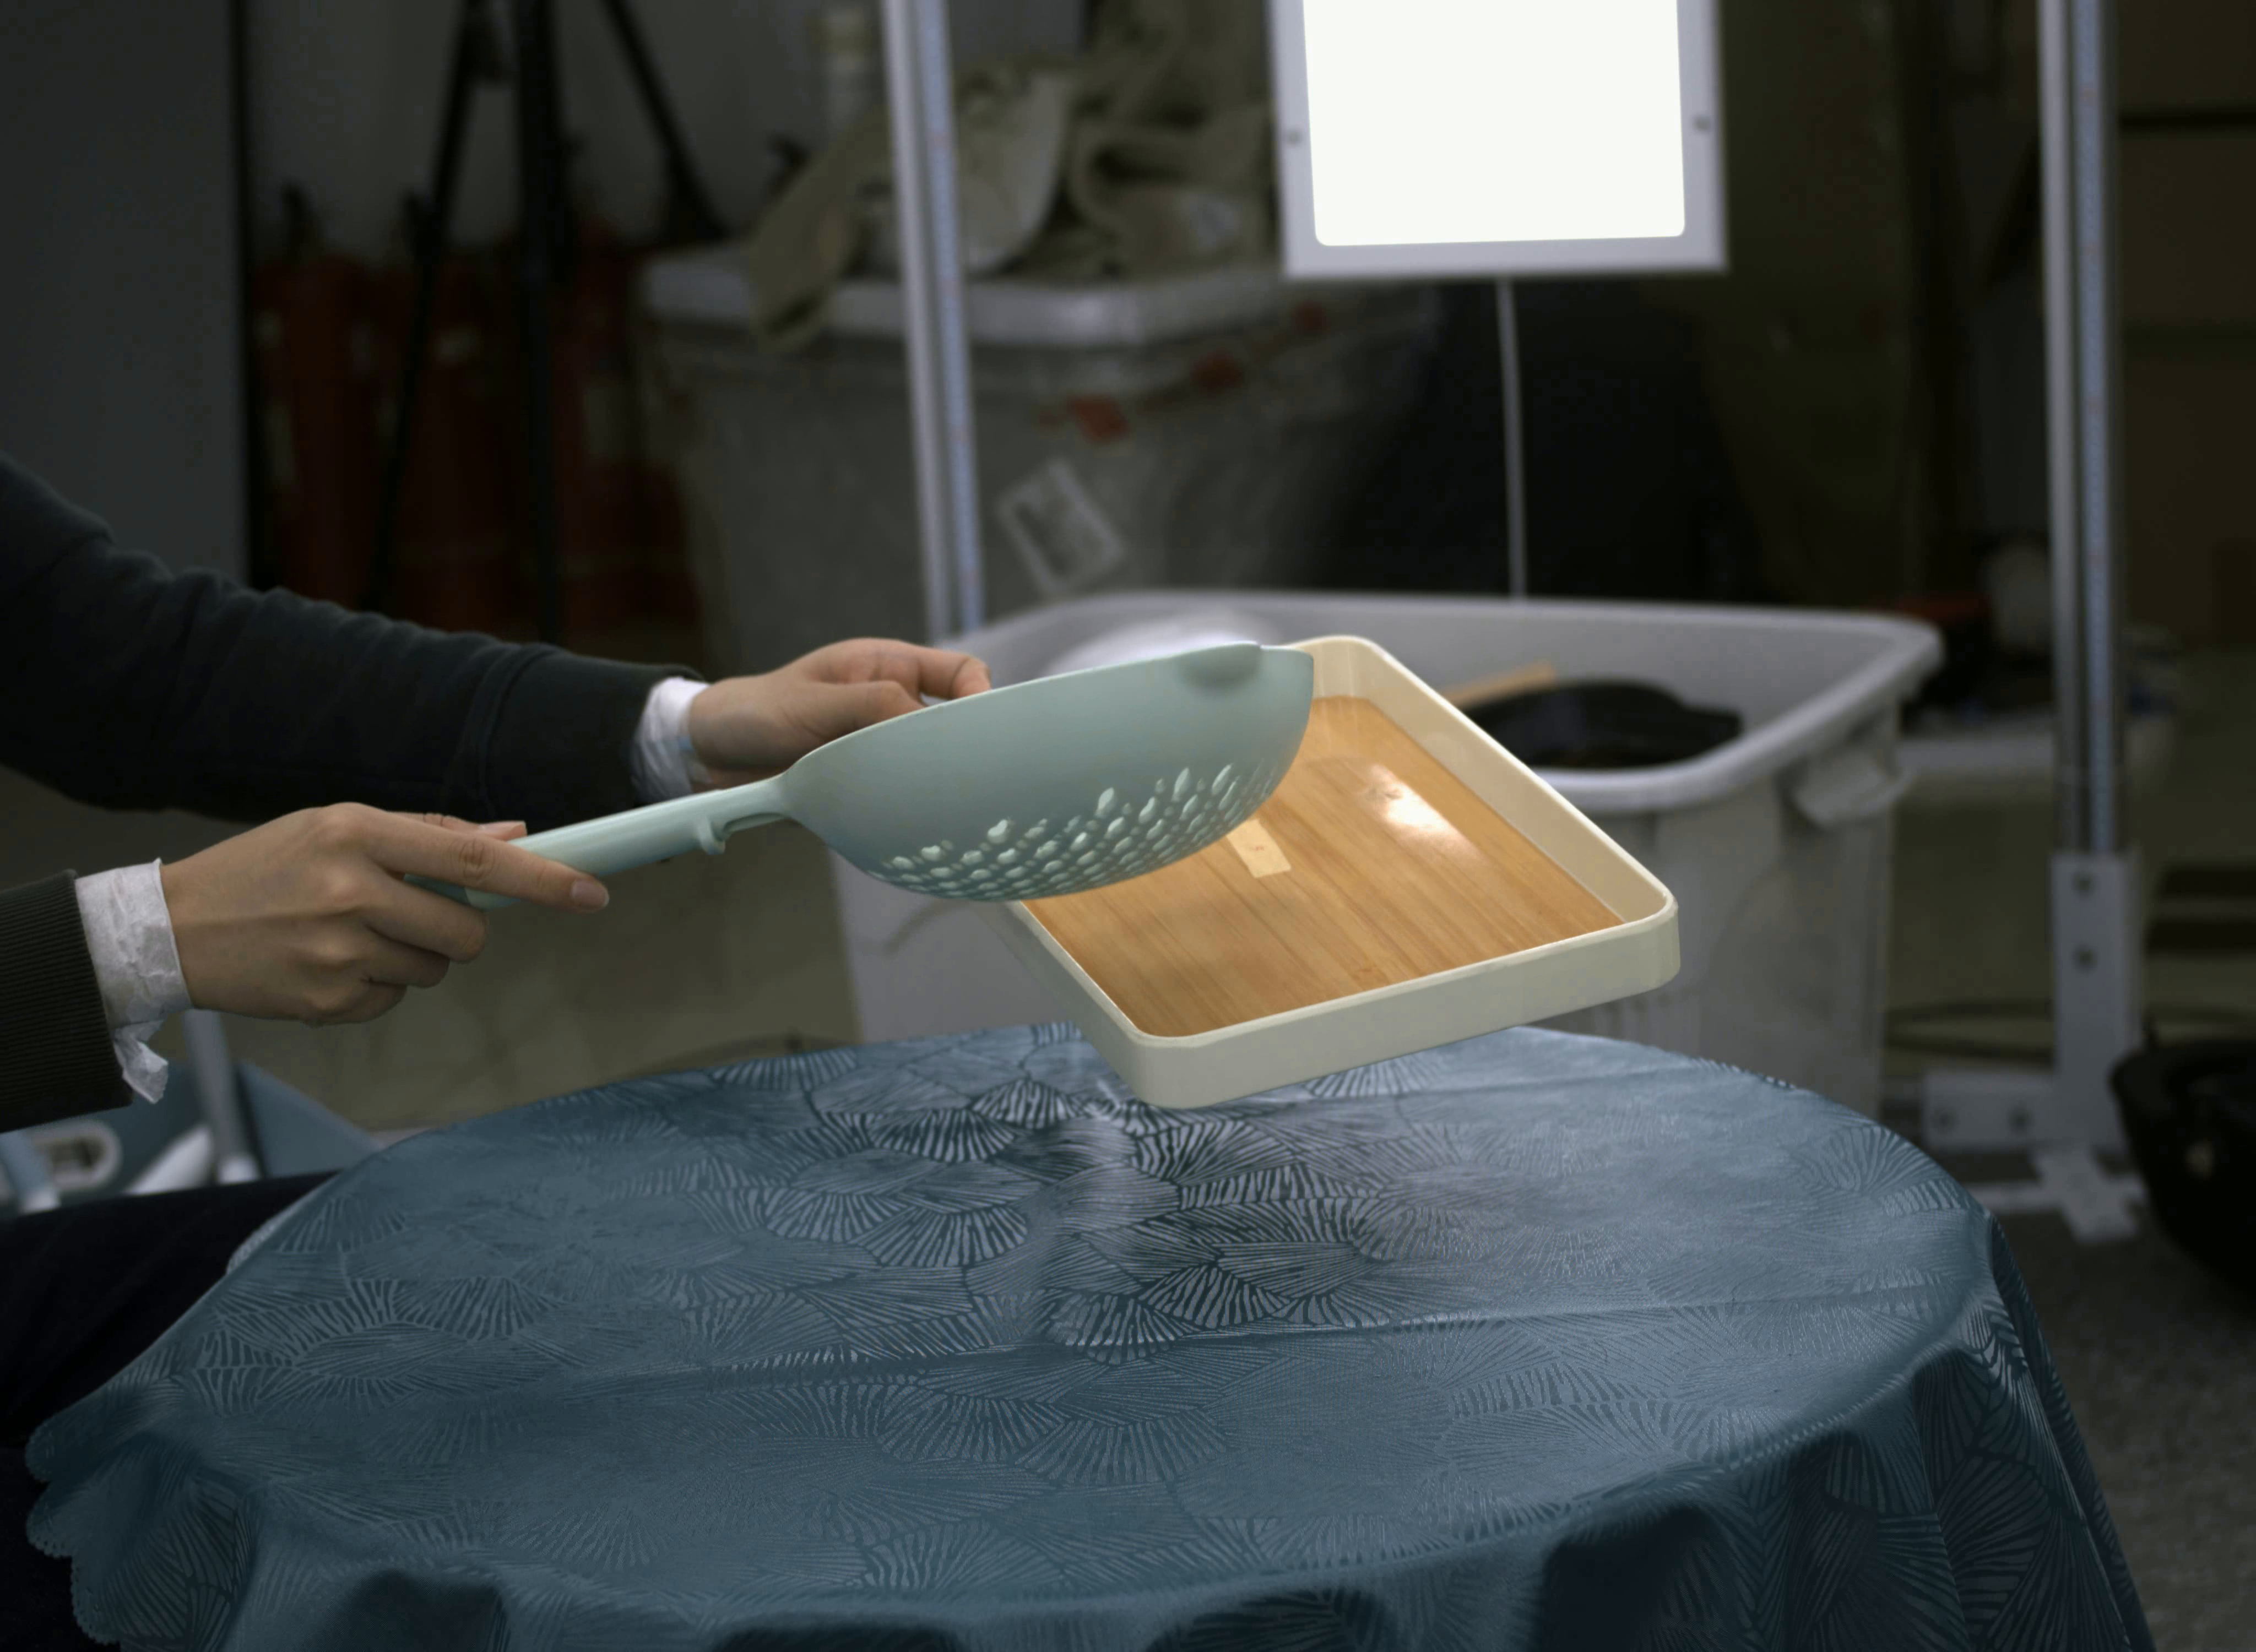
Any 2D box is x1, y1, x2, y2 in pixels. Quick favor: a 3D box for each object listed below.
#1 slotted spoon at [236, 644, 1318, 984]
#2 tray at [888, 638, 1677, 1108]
[{"bbox_3d":[-0.115,-0.002,1.764,0.360,0.075,0.168,-5,-7,9],"label":"slotted spoon"},{"bbox_3d":[0.046,0.010,1.874,0.189,0.027,0.303,-14,23,-14],"label":"tray"}]
